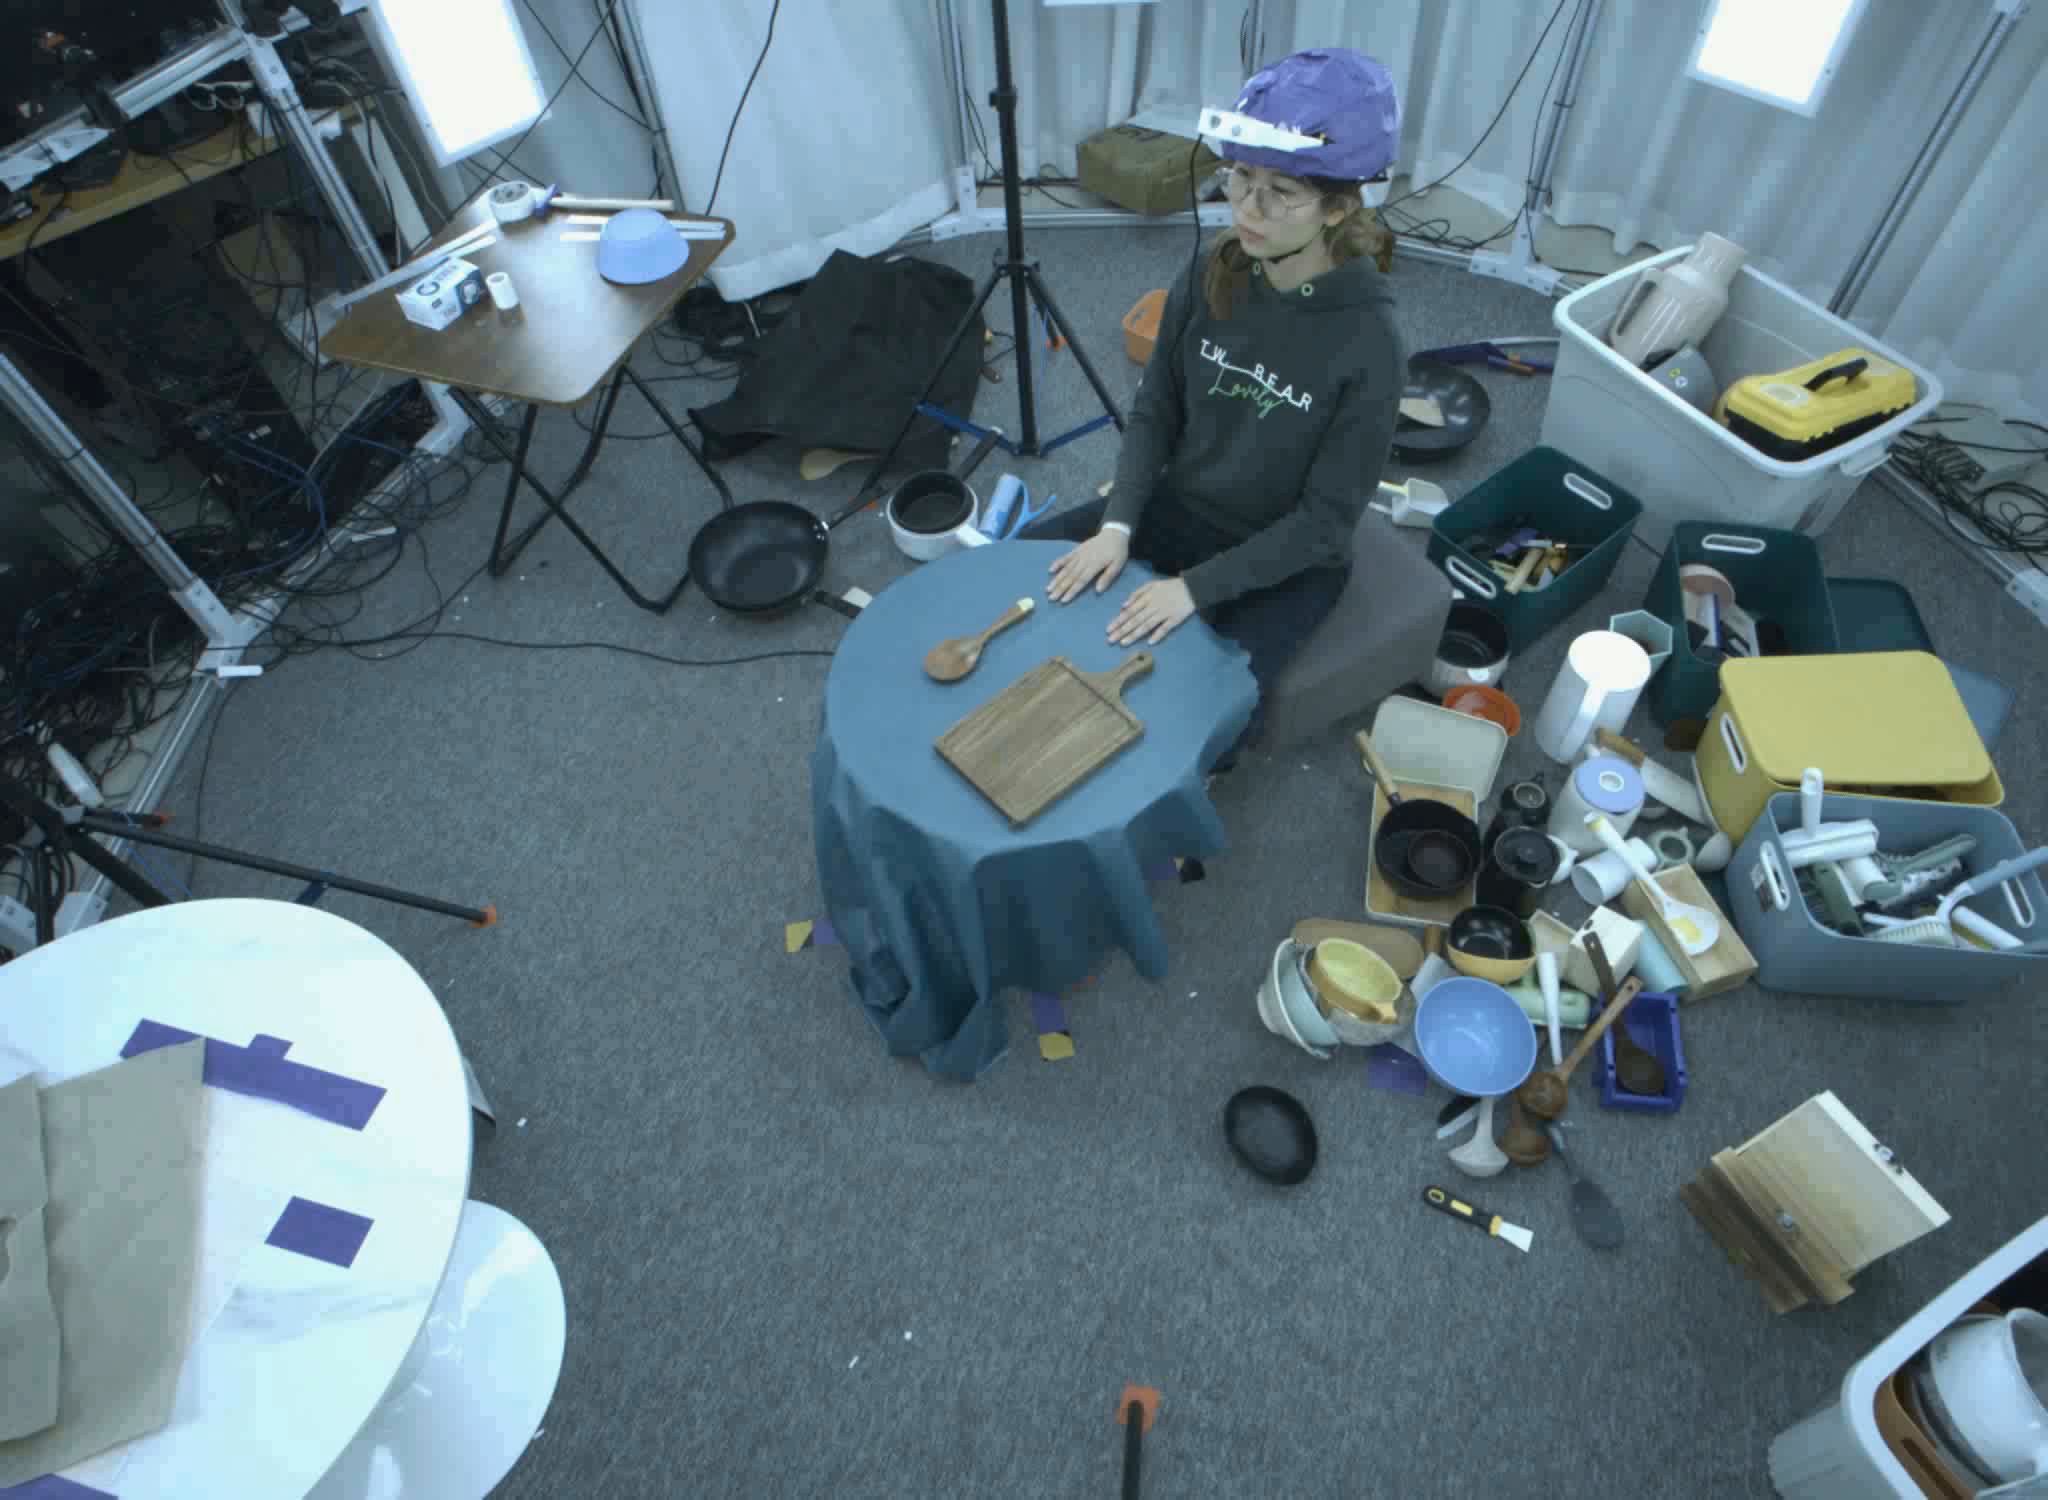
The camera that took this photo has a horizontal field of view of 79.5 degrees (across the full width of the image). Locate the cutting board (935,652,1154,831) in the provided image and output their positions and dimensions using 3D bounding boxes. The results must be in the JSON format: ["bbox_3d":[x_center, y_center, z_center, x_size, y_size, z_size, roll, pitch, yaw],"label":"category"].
[{"bbox_3d":[0.062,-0.041,1.814,0.355,0.023,0.197,-37,60,-22],"label":"cutting board"}]

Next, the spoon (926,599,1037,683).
[{"bbox_3d":[-0.062,-0.170,1.908,0.217,0.017,0.074,-39,61,-22],"label":"spoon"}]
